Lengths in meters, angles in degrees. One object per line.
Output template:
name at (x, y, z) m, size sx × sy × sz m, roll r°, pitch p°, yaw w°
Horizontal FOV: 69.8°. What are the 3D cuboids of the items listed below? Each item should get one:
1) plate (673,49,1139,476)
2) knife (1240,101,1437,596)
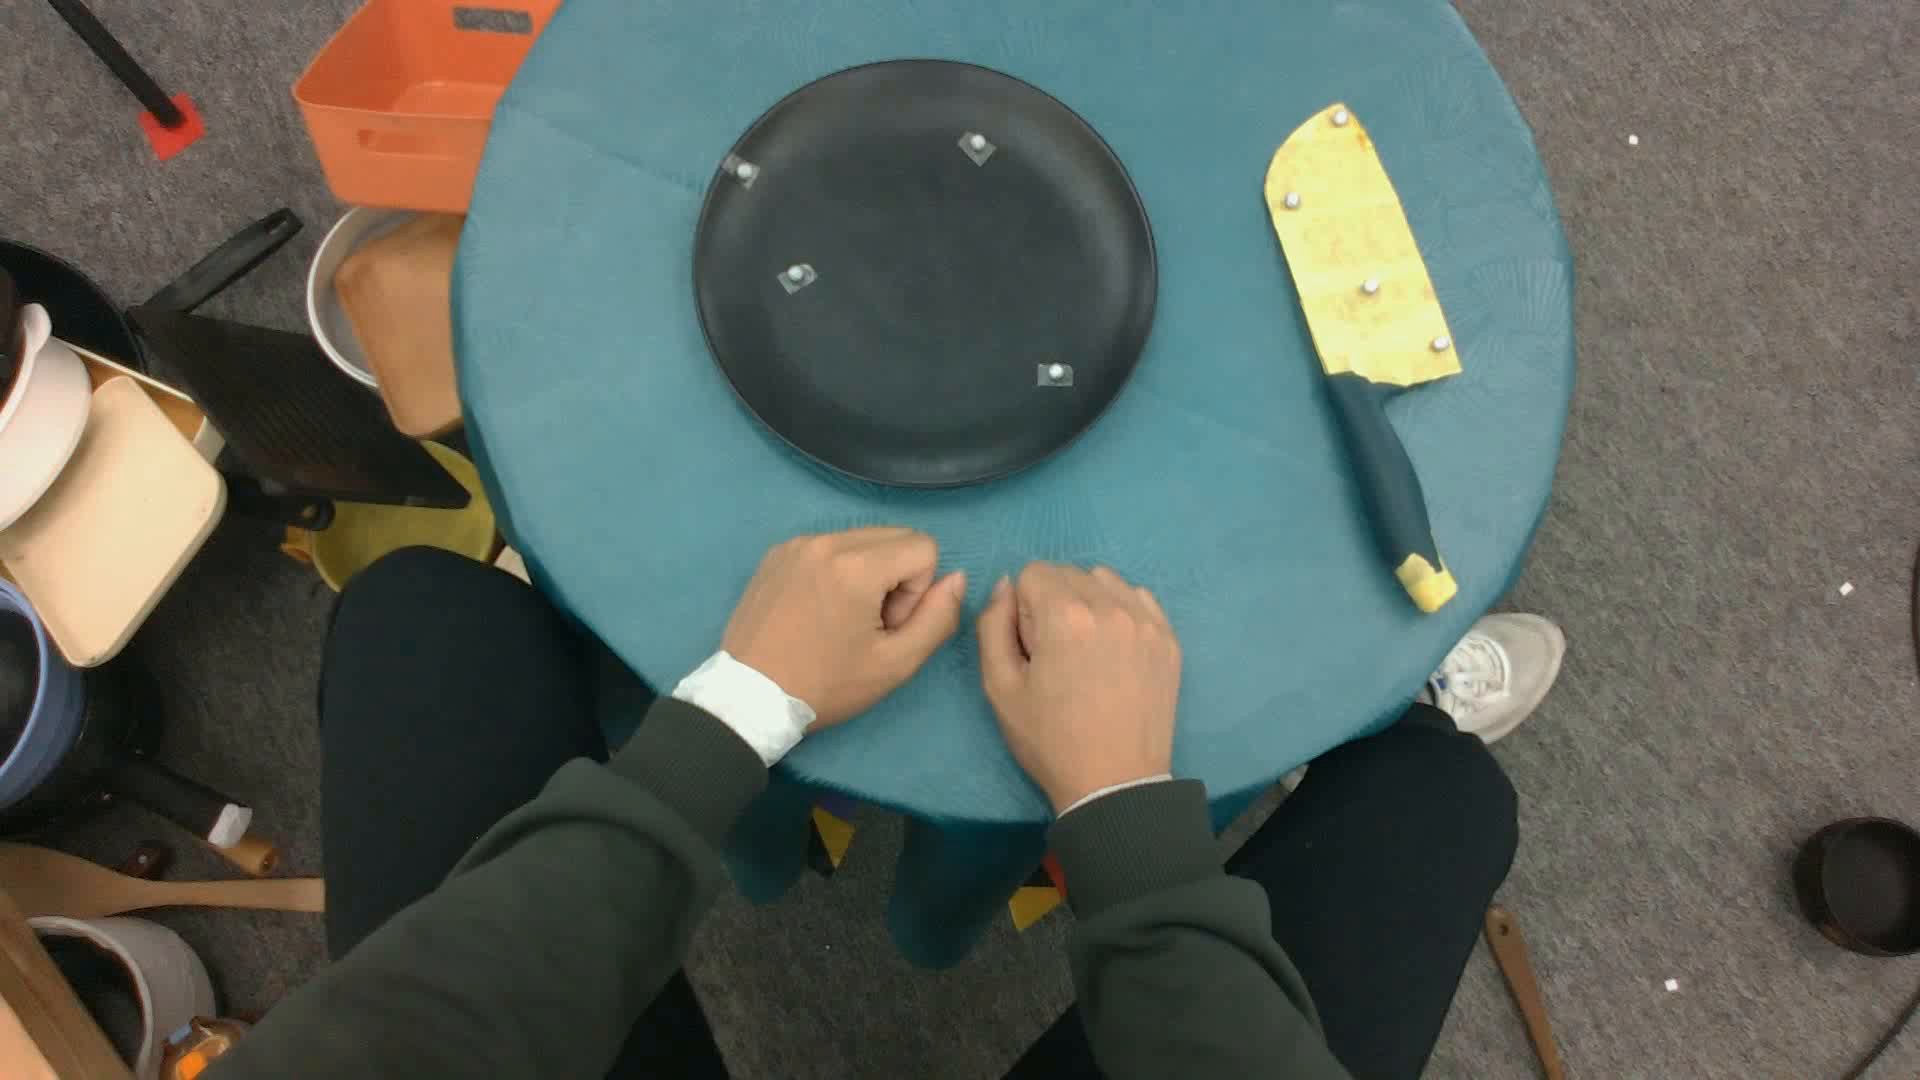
plate at (-0.027, -0.148, 0.726) m, size 0.244 × 0.023 × 0.245 m, roll 1°, pitch 75°, yaw -4°
knife at (0.214, -0.111, 0.740) m, size 0.081 × 0.027 × 0.290 m, roll -10°, pitch 75°, yaw -6°
